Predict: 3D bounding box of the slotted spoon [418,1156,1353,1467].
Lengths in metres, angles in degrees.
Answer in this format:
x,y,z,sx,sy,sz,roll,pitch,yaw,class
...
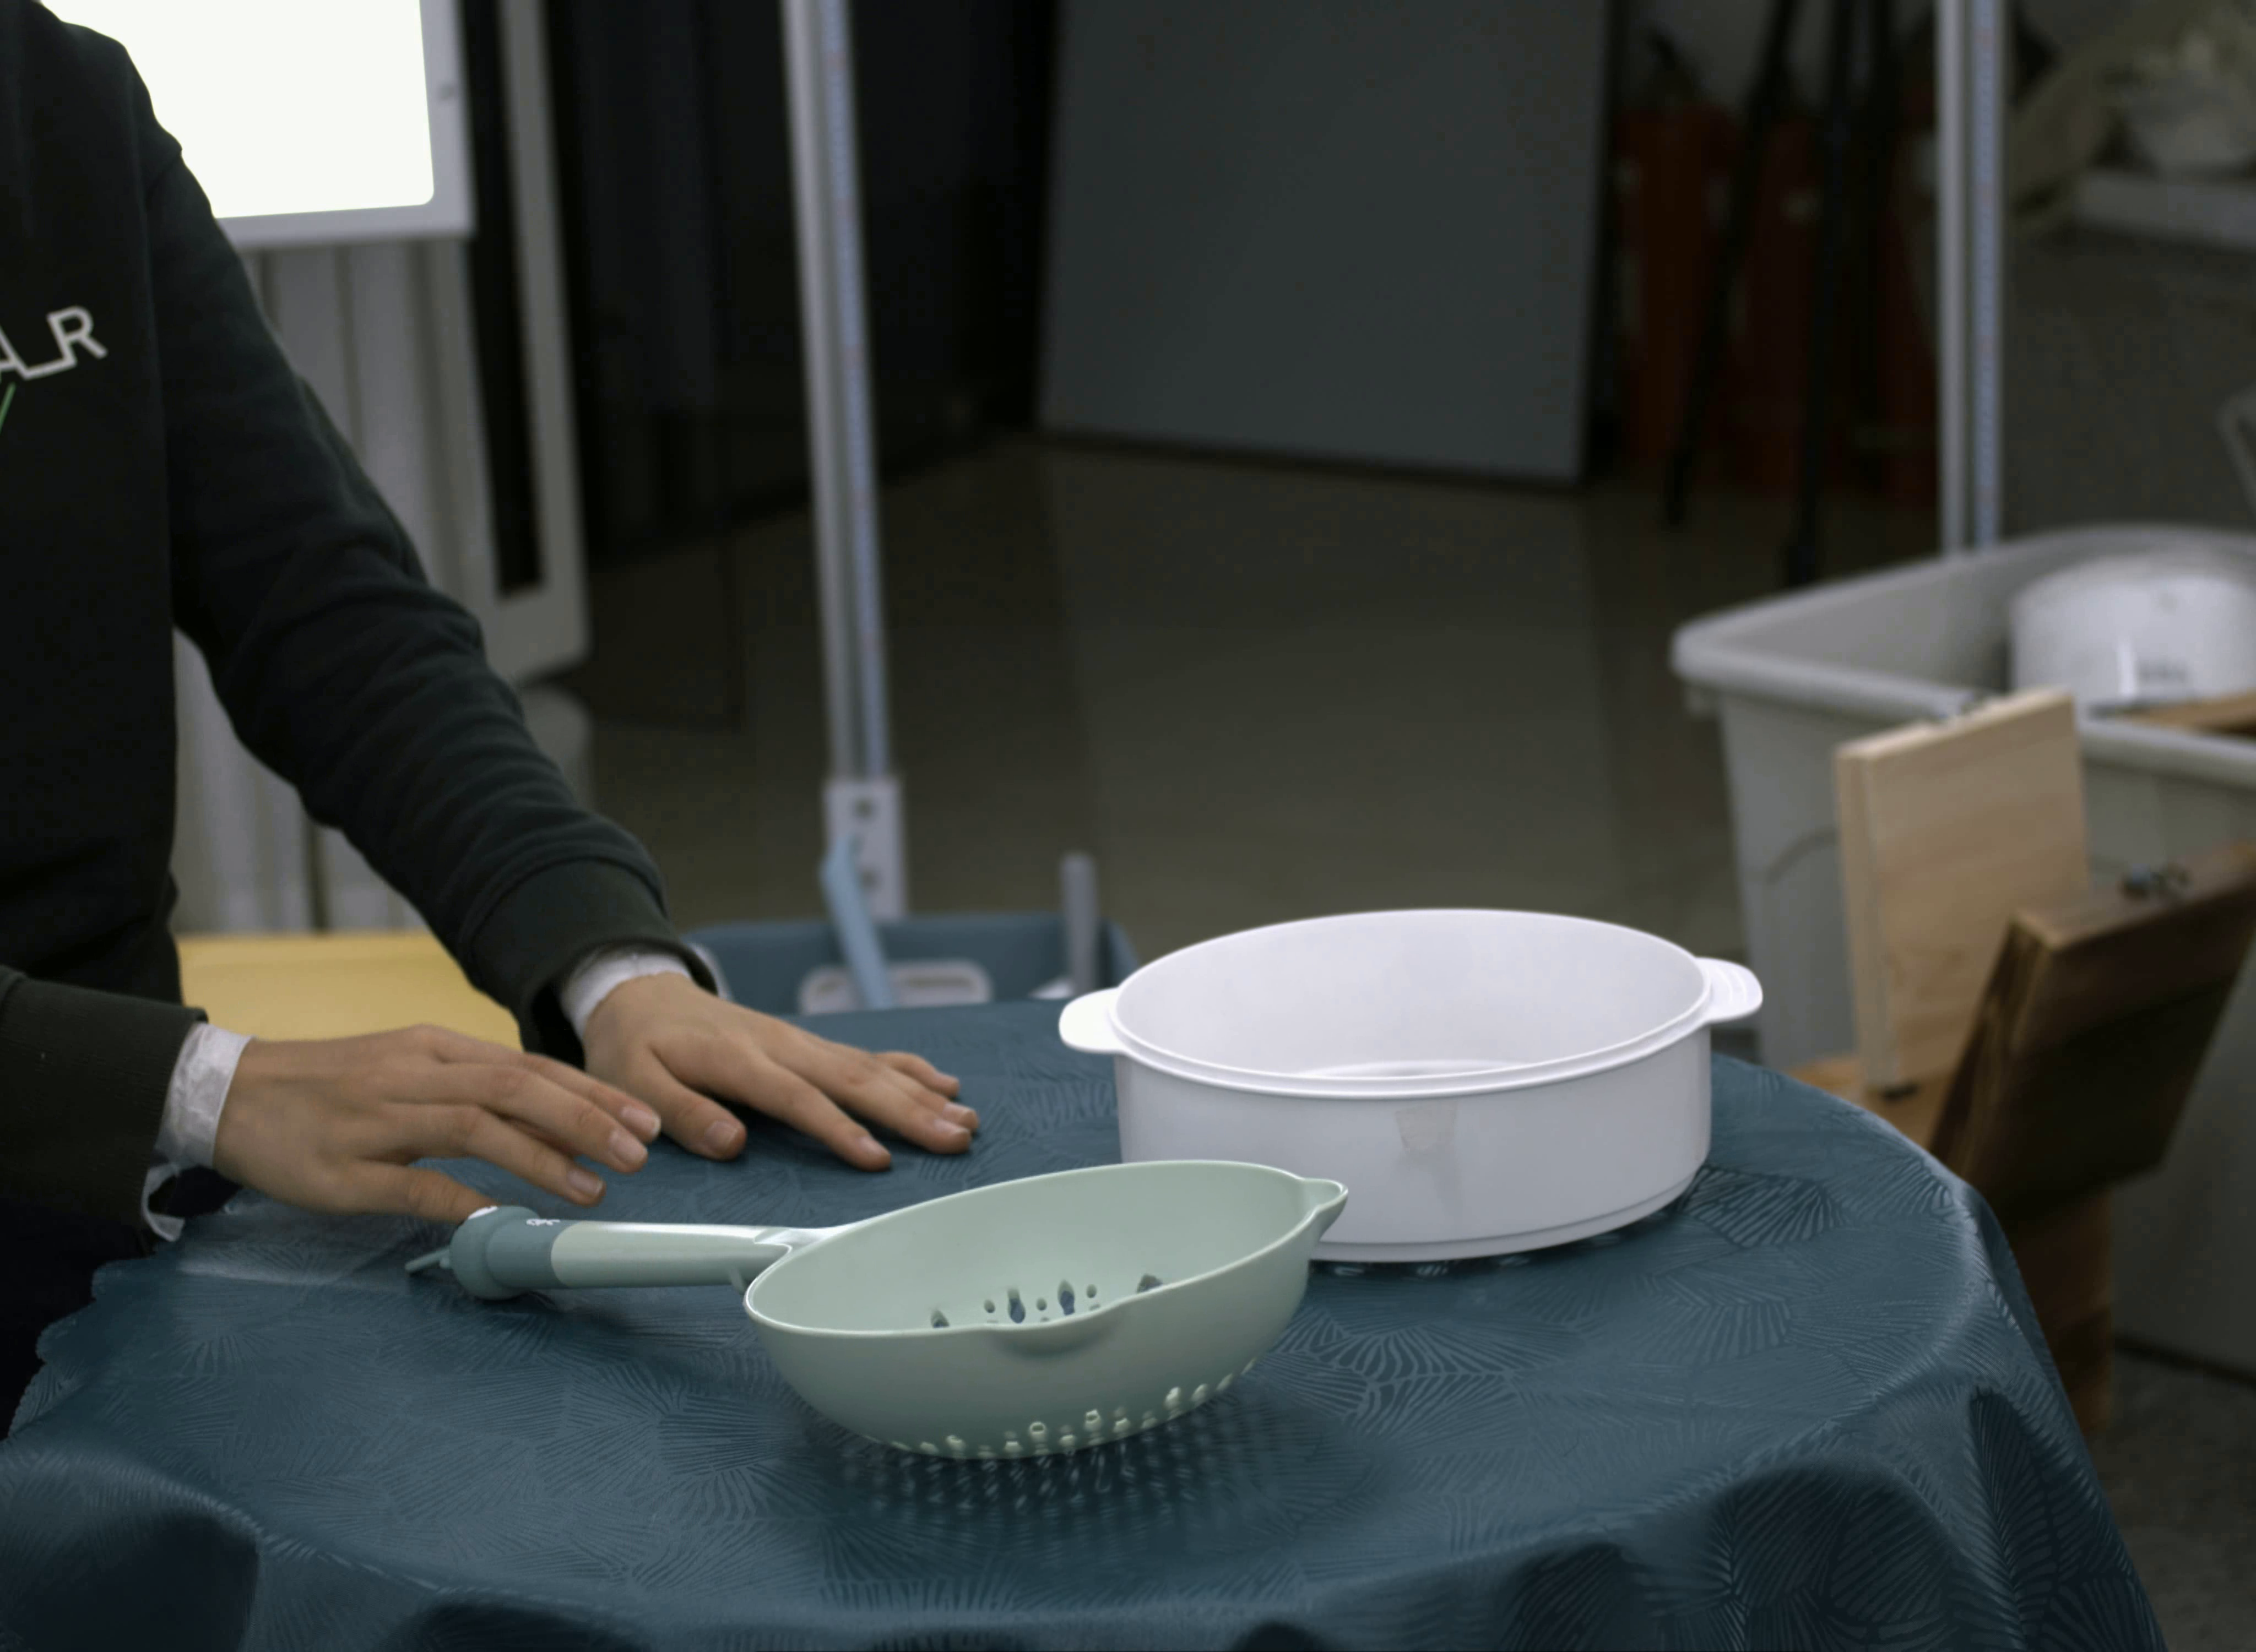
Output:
x,y,z,sx,sy,sz,roll,pitch,yaw,class
-0.095,0.134,1.611,0.362,0.076,0.166,8,19,42,slotted spoon

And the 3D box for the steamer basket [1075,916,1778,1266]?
x,y,z,sx,sy,sz,roll,pitch,yaw,class
0.098,0.086,1.749,0.228,0.070,0.202,-4,13,2,steamer basket
